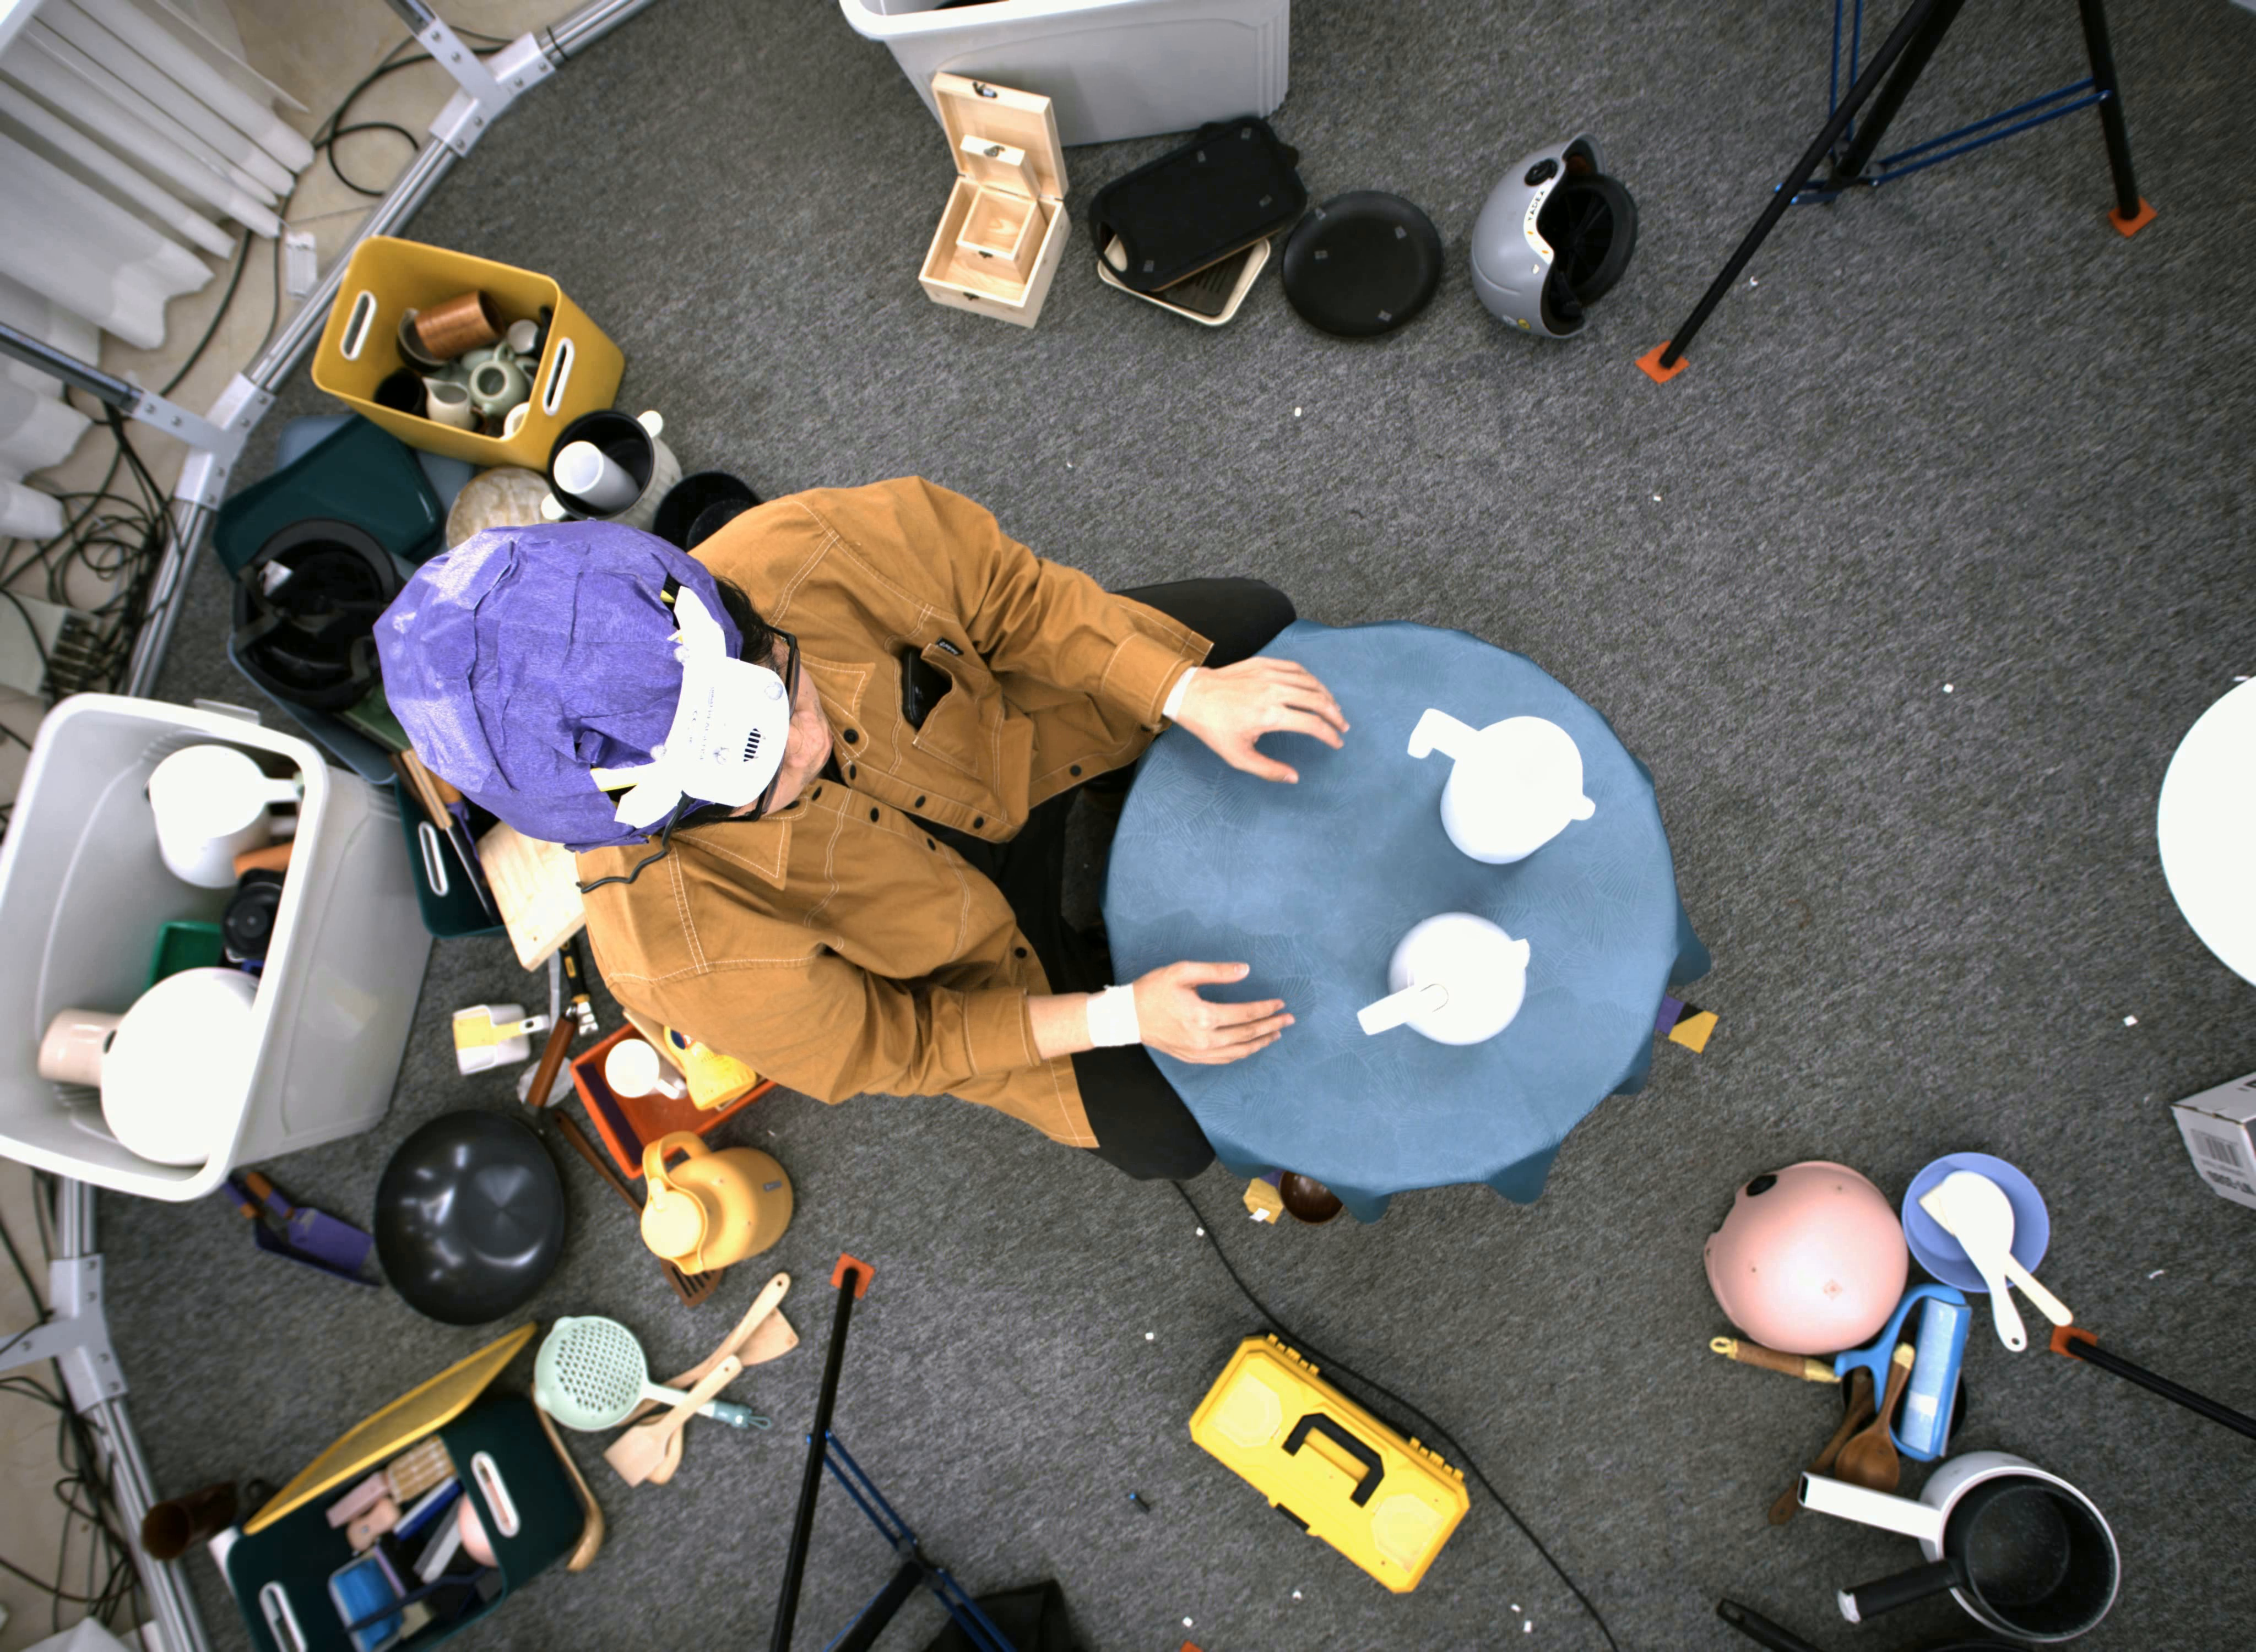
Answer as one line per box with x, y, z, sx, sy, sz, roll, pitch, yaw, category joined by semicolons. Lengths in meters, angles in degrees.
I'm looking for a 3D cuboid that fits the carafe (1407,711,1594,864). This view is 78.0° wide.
0.349;-0.040;1.316;0.172;0.268;0.124;30;92;12;carafe

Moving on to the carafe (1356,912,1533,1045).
0.301;0.154;1.324;0.169;0.248;0.131;-26;81;9;carafe
